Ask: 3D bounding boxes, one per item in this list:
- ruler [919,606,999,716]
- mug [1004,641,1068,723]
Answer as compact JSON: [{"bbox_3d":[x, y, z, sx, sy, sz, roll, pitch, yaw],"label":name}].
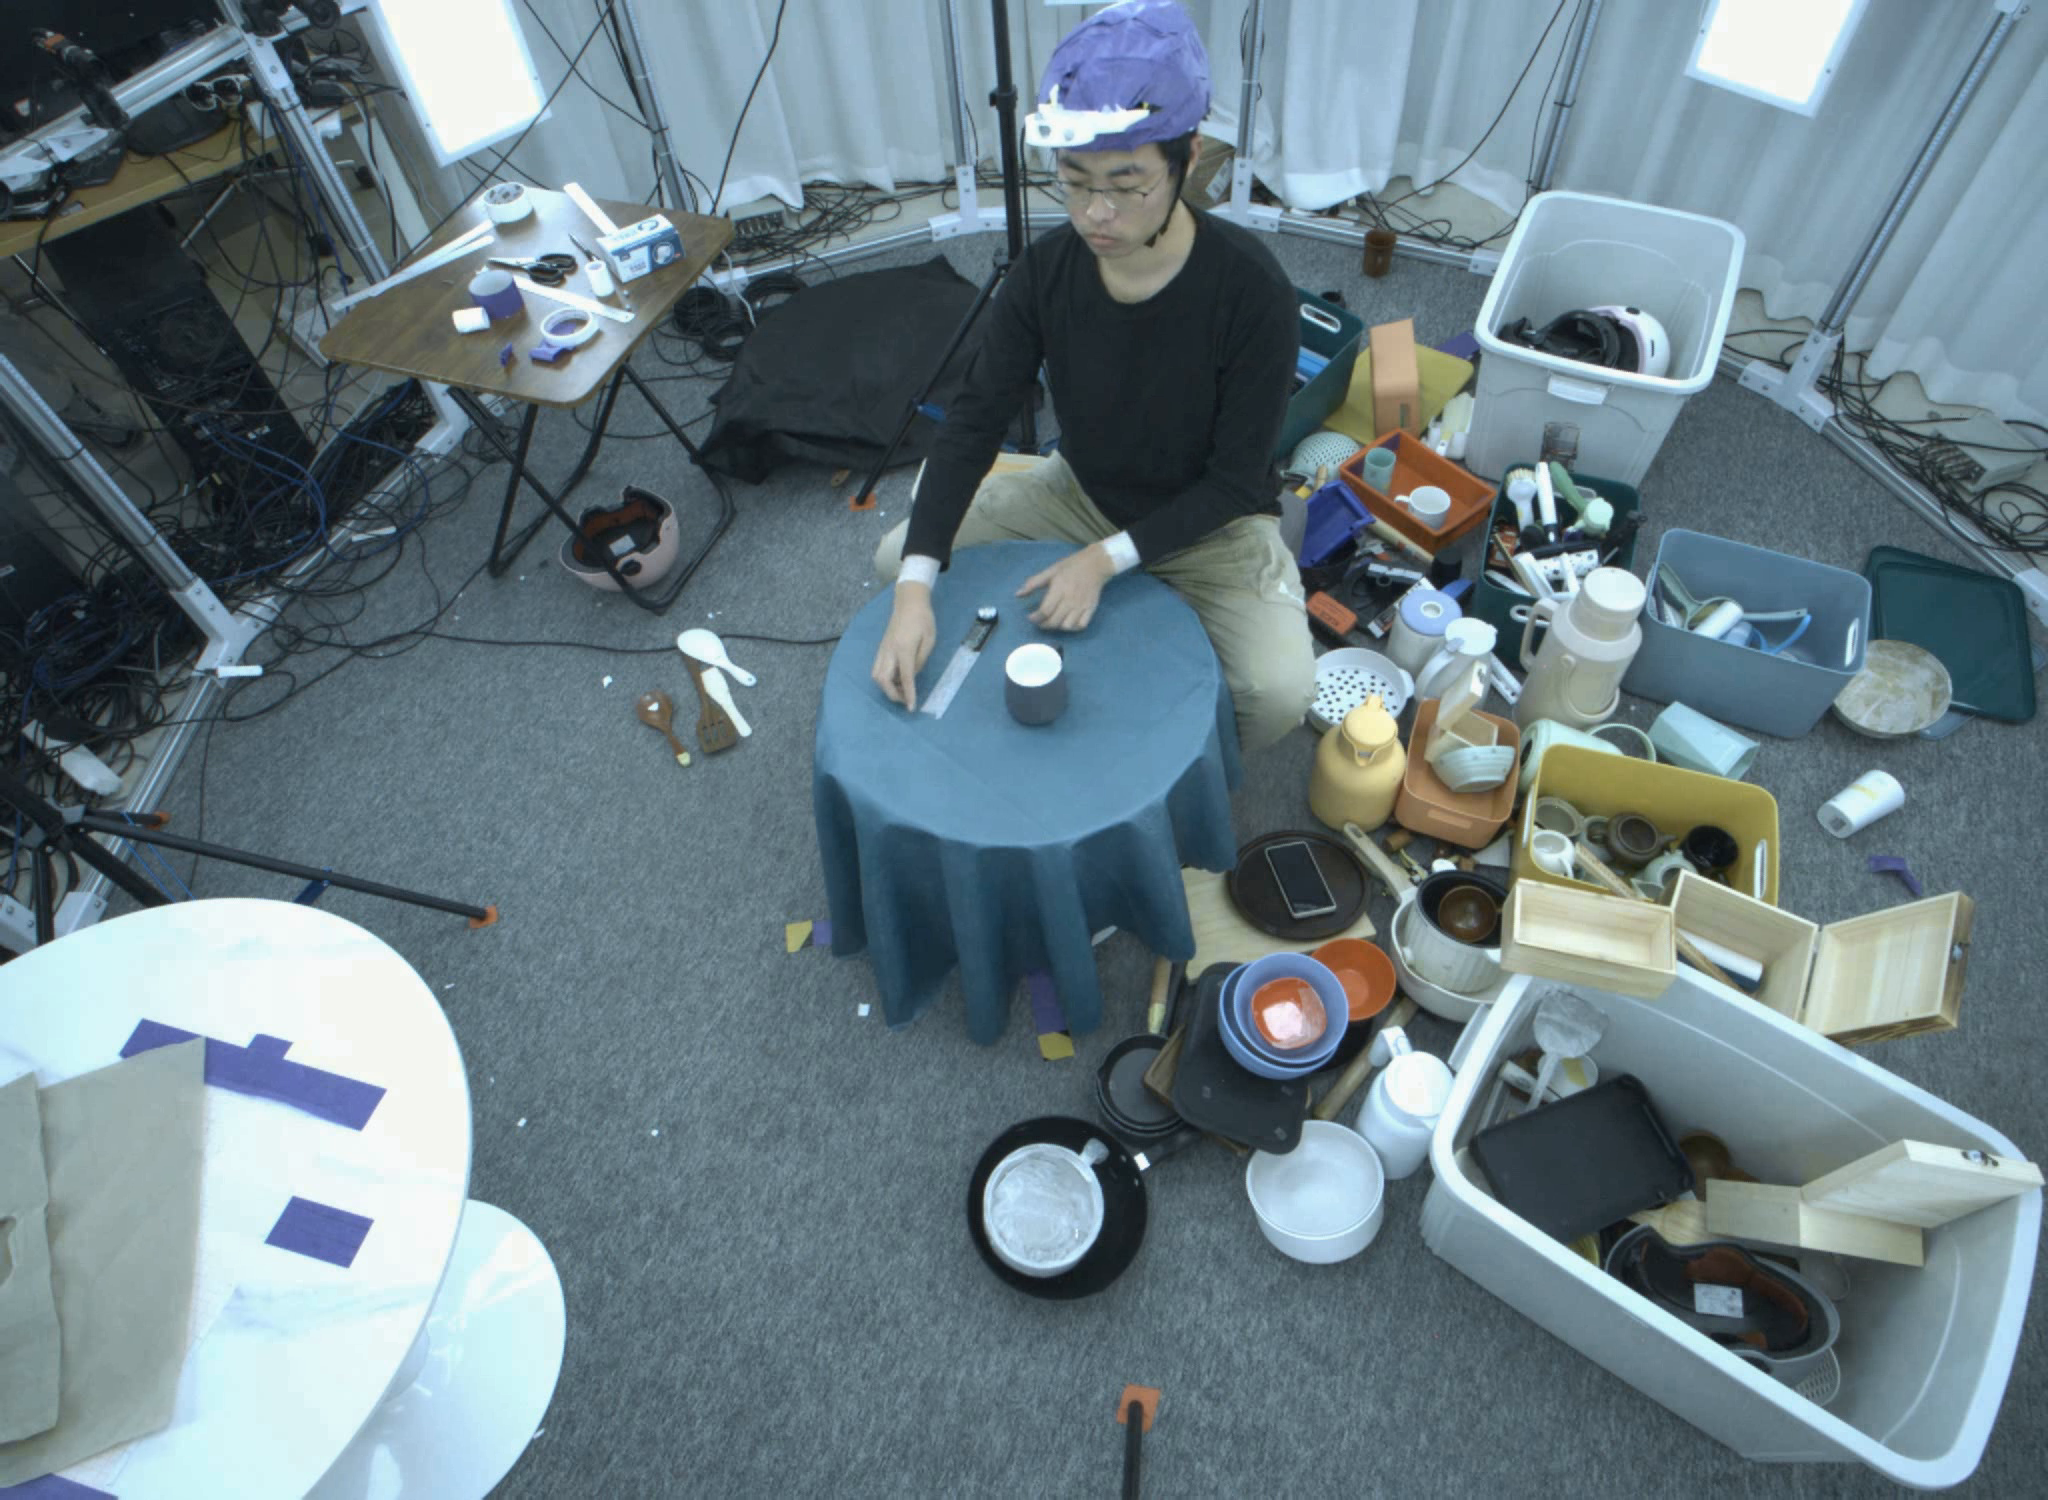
[{"bbox_3d":[-0.097,-0.140,1.876,0.038,0.024,0.218,16,55,21],"label":"ruler"},{"bbox_3d":[0.024,-0.108,1.806,0.092,0.091,0.123,24,61,18],"label":"mug"}]
